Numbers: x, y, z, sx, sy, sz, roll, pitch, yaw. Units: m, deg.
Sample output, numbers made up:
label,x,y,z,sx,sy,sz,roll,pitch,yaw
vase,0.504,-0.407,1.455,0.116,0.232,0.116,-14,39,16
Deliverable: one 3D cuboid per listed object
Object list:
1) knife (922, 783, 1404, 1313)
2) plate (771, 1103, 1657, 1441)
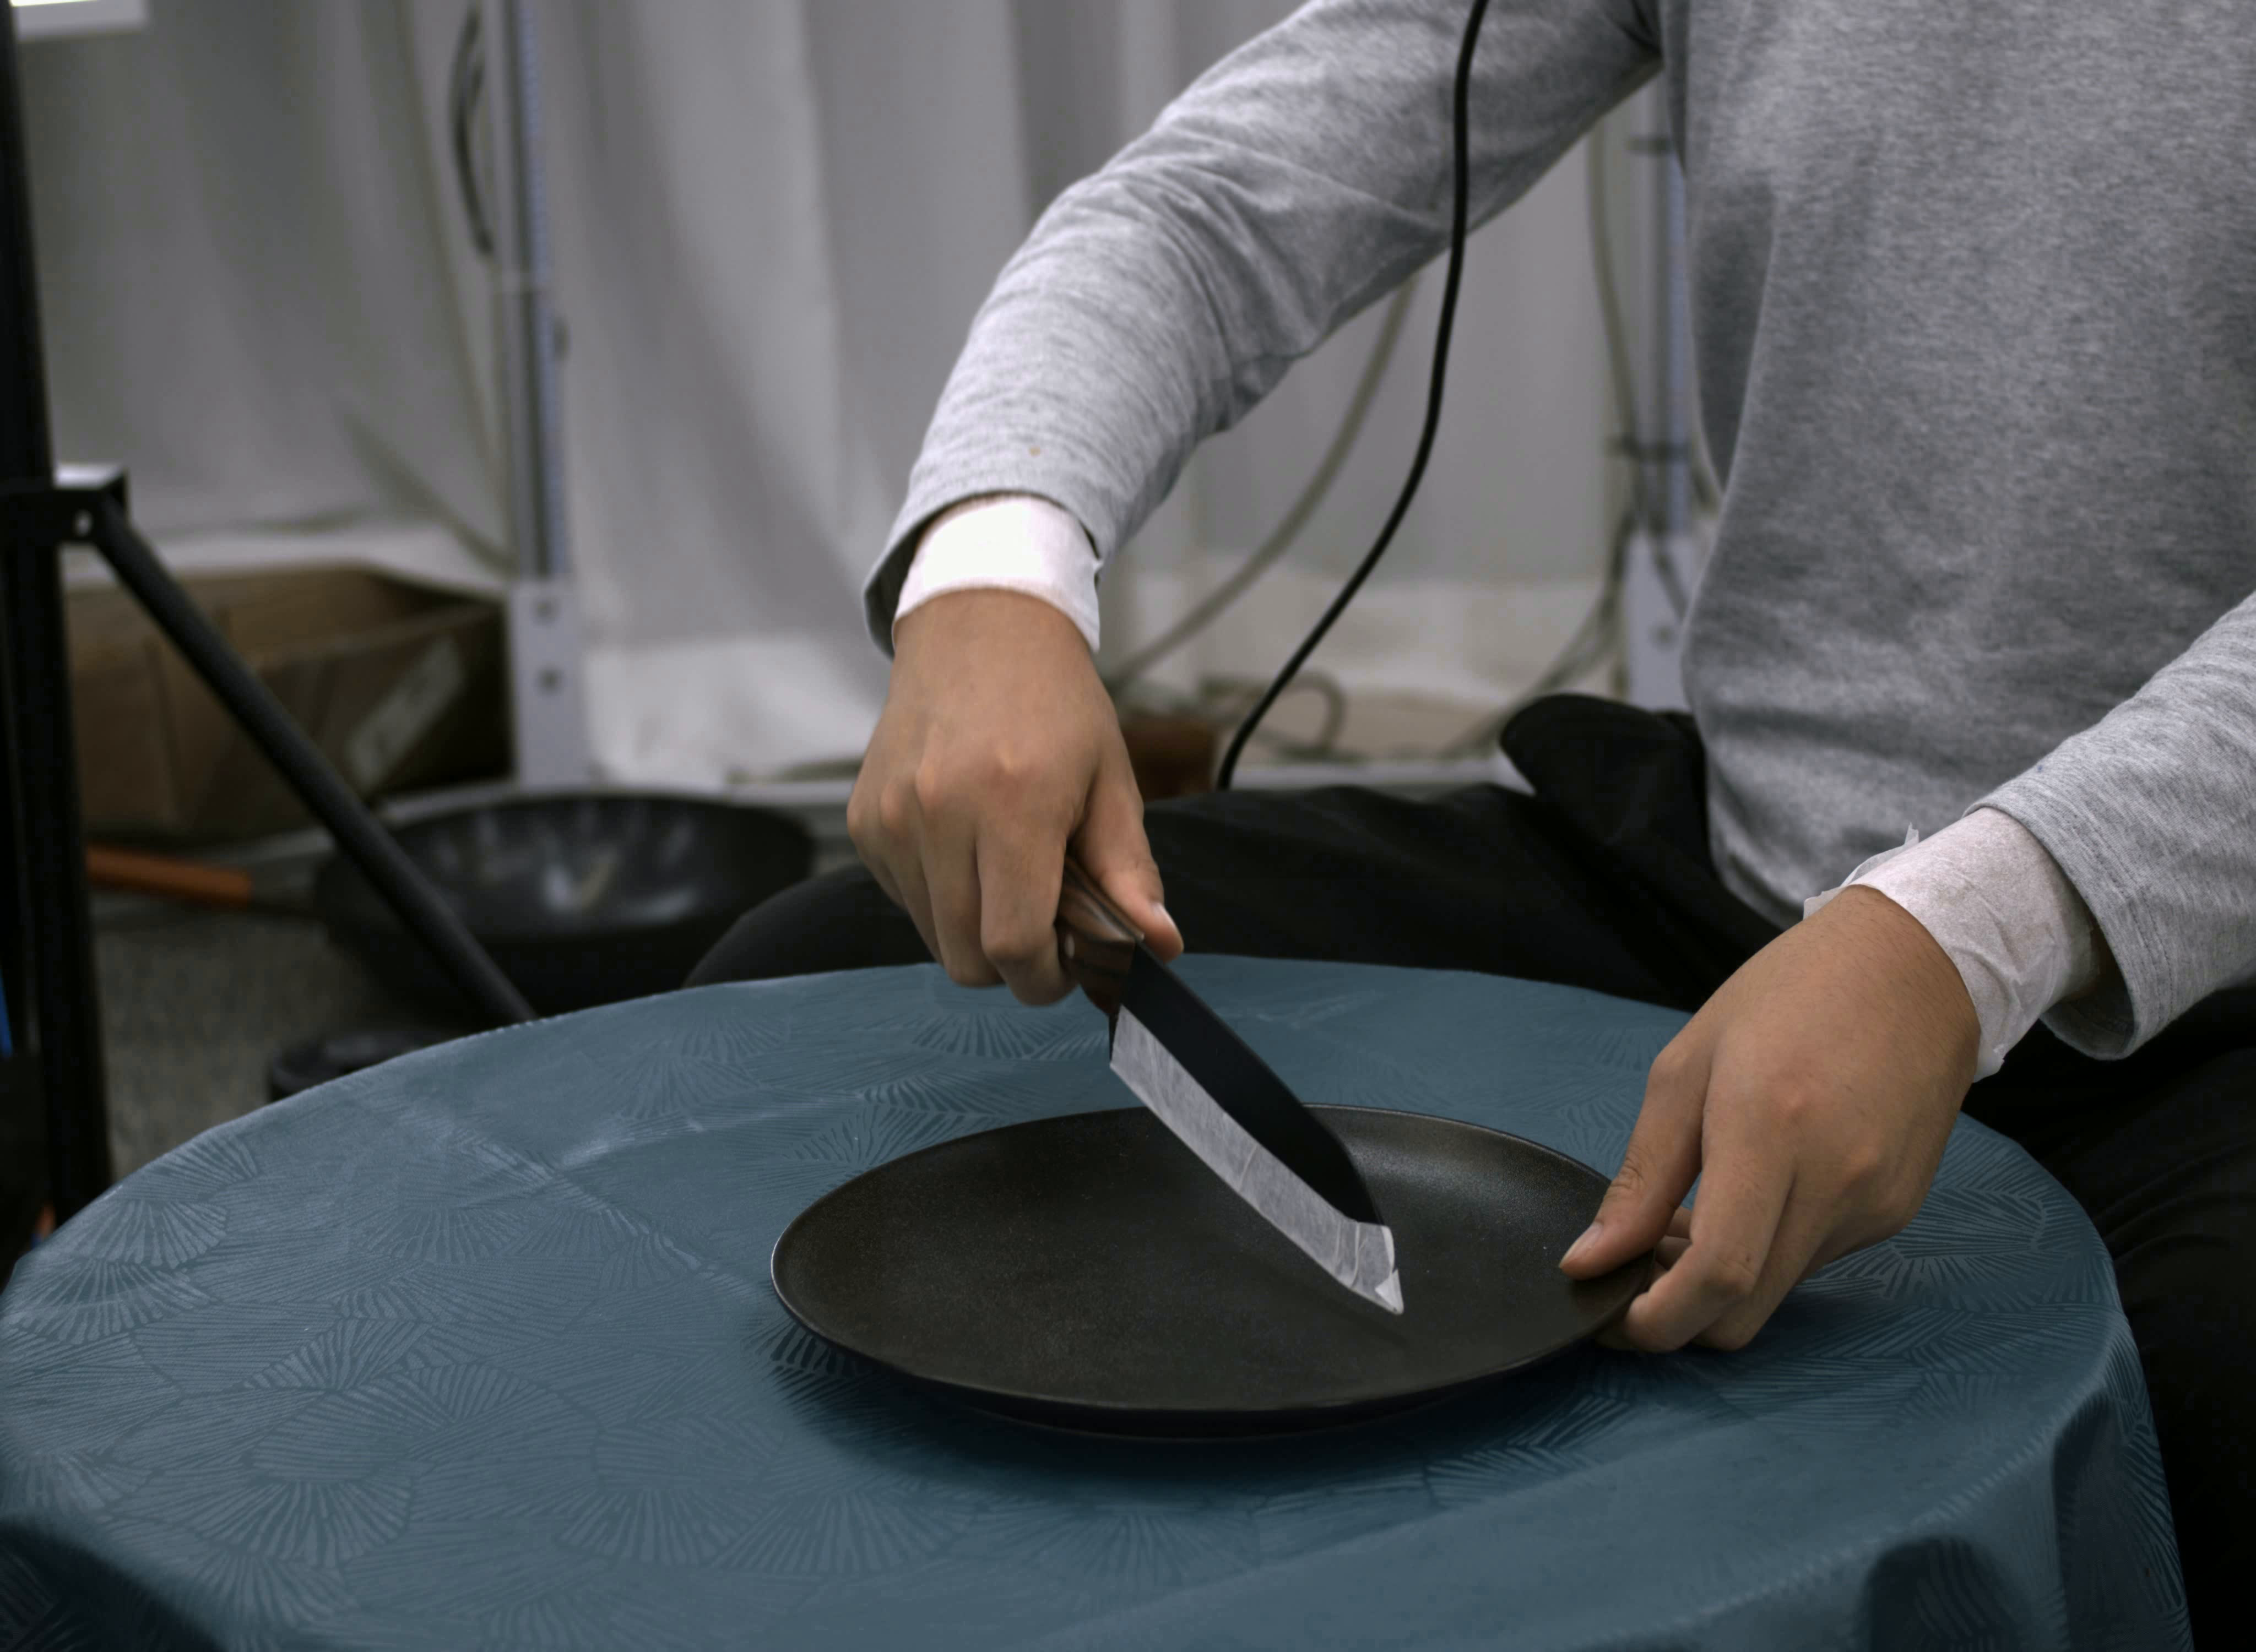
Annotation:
label,x,y,z,sx,sy,sz,roll,pitch,yaw
knife,0.009,0.060,1.527,0.019,0.050,0.295,-7,30,-27
plate,0.024,0.125,1.457,0.243,0.023,0.245,-3,16,-1
